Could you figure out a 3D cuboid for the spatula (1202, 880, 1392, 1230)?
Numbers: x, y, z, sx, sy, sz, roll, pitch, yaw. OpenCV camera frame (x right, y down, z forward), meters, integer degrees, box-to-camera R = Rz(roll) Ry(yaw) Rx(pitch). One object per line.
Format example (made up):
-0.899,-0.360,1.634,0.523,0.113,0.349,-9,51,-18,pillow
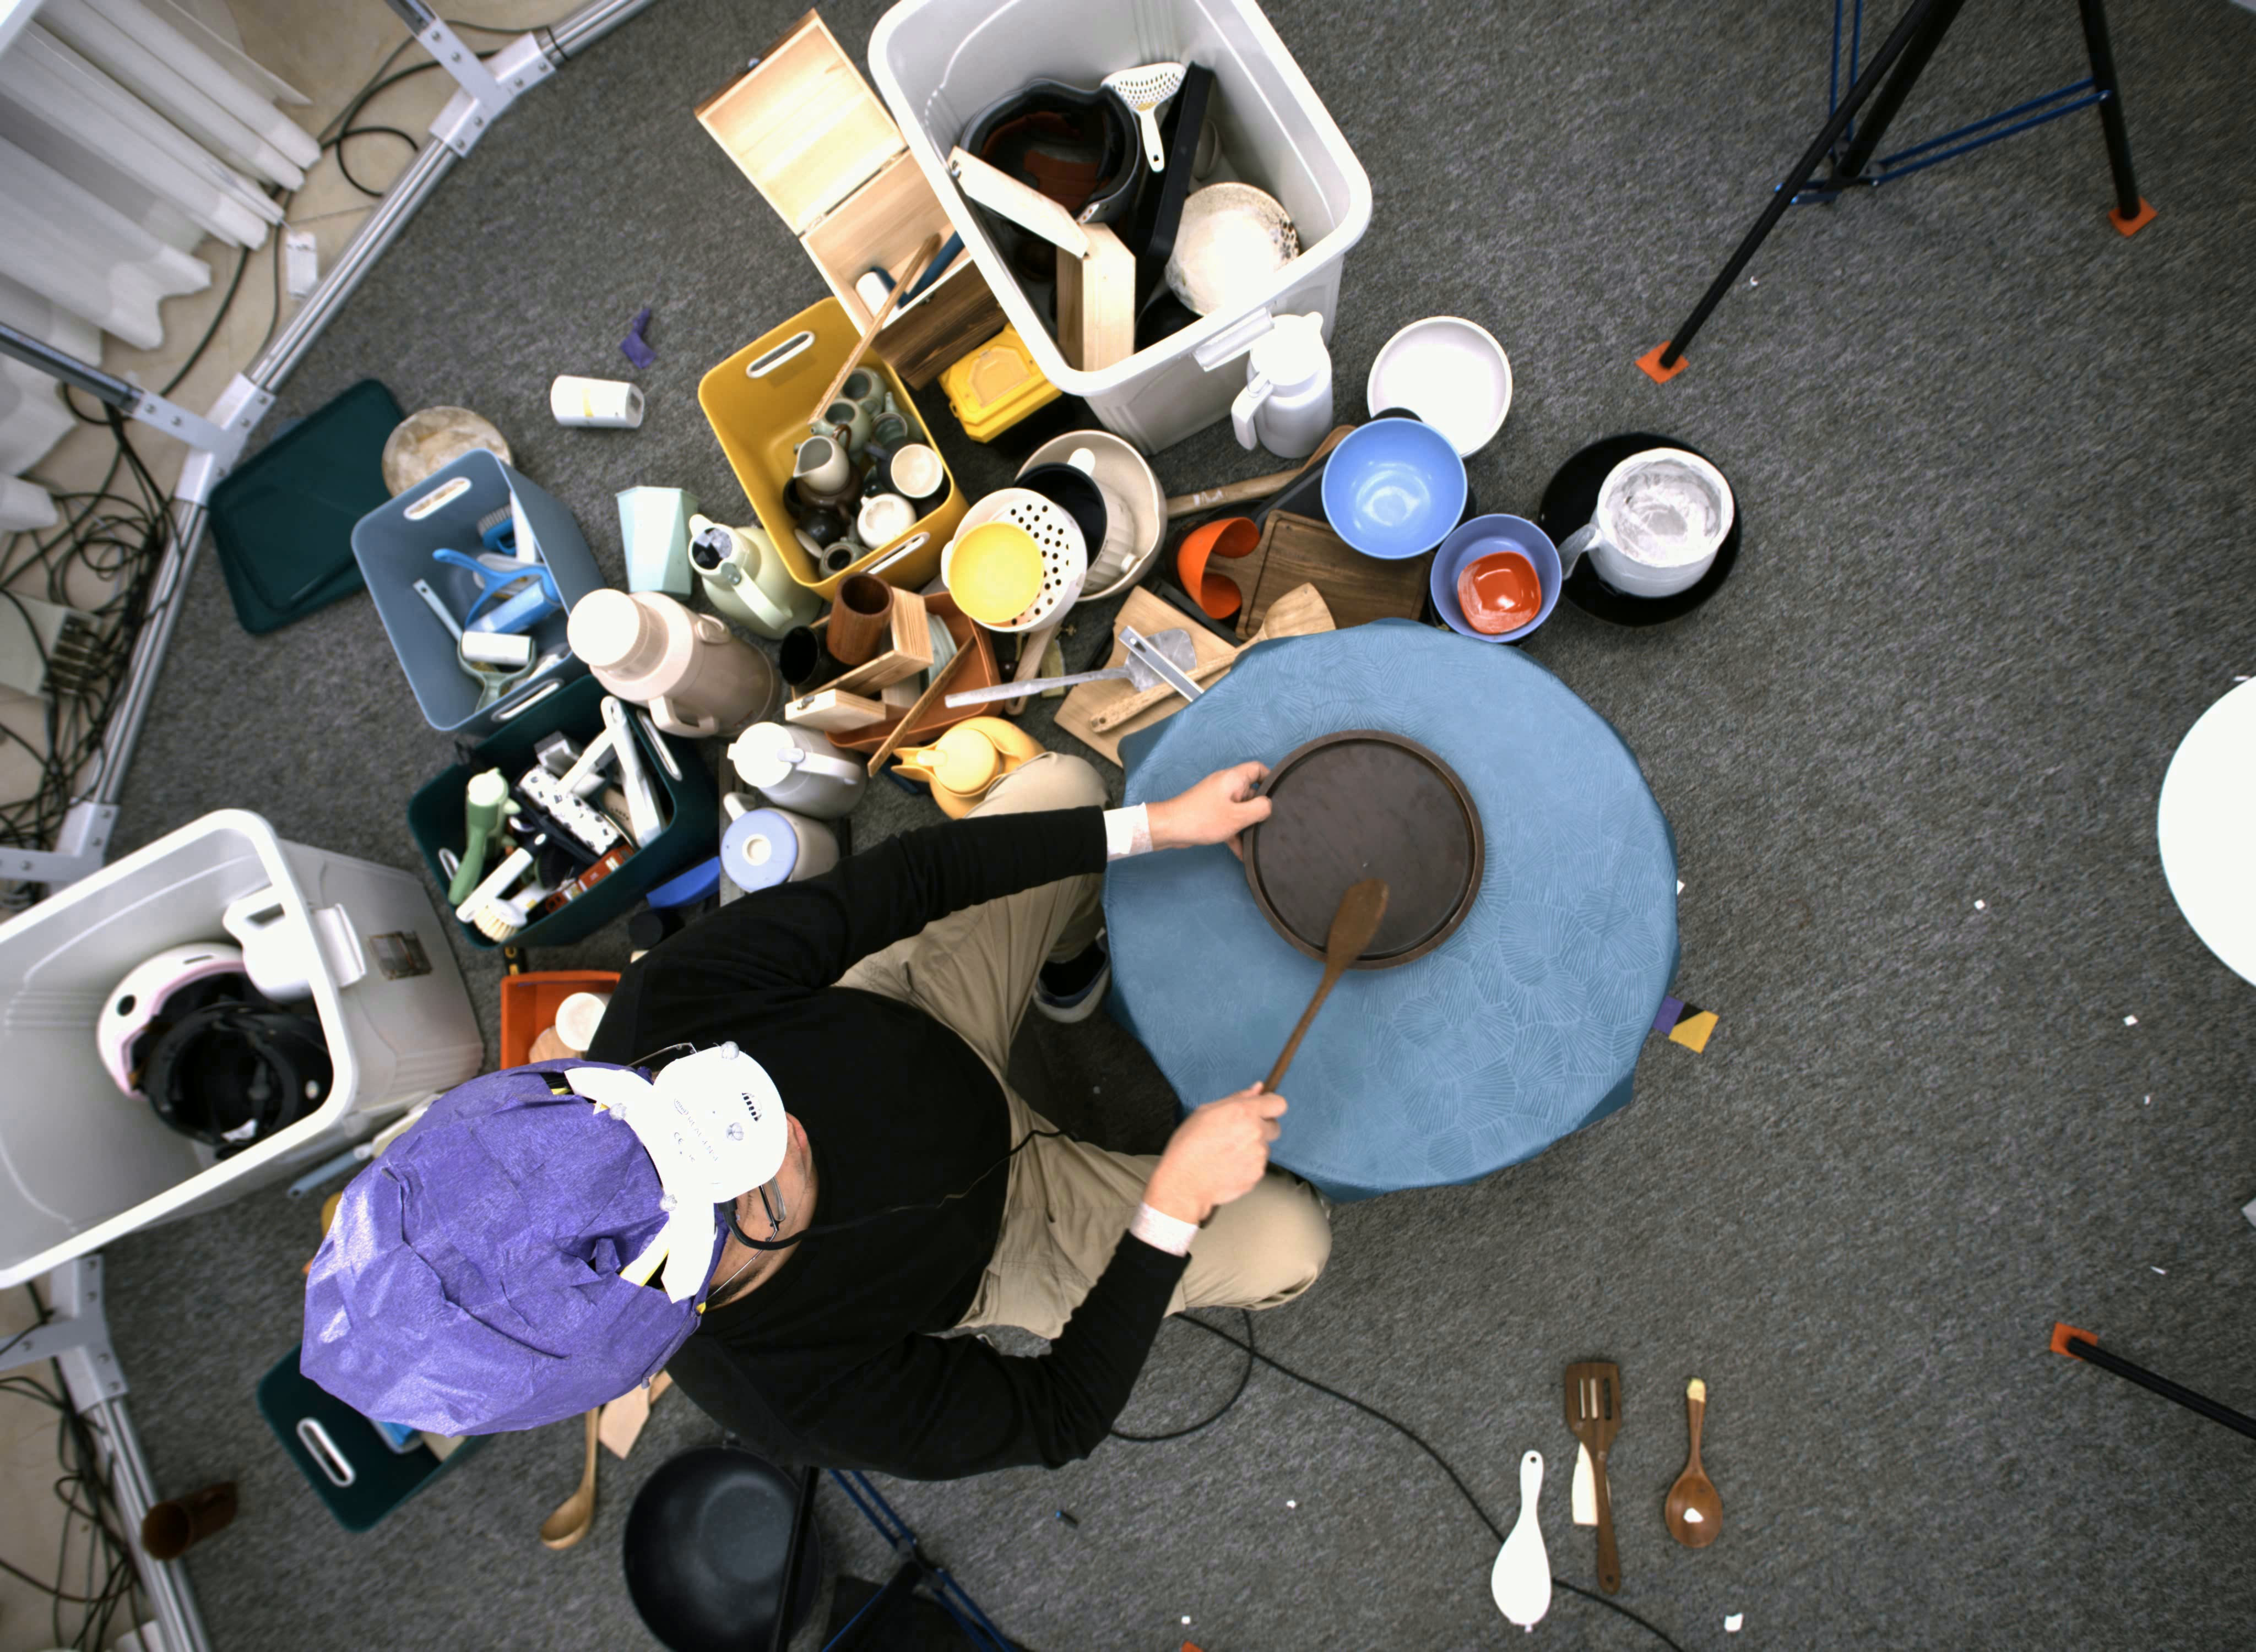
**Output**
0.163,0.218,1.359,0.016,0.097,0.382,32,78,-12,spatula

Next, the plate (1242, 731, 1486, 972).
0.245,0.025,1.440,0.255,0.029,0.253,0,86,0,plate
